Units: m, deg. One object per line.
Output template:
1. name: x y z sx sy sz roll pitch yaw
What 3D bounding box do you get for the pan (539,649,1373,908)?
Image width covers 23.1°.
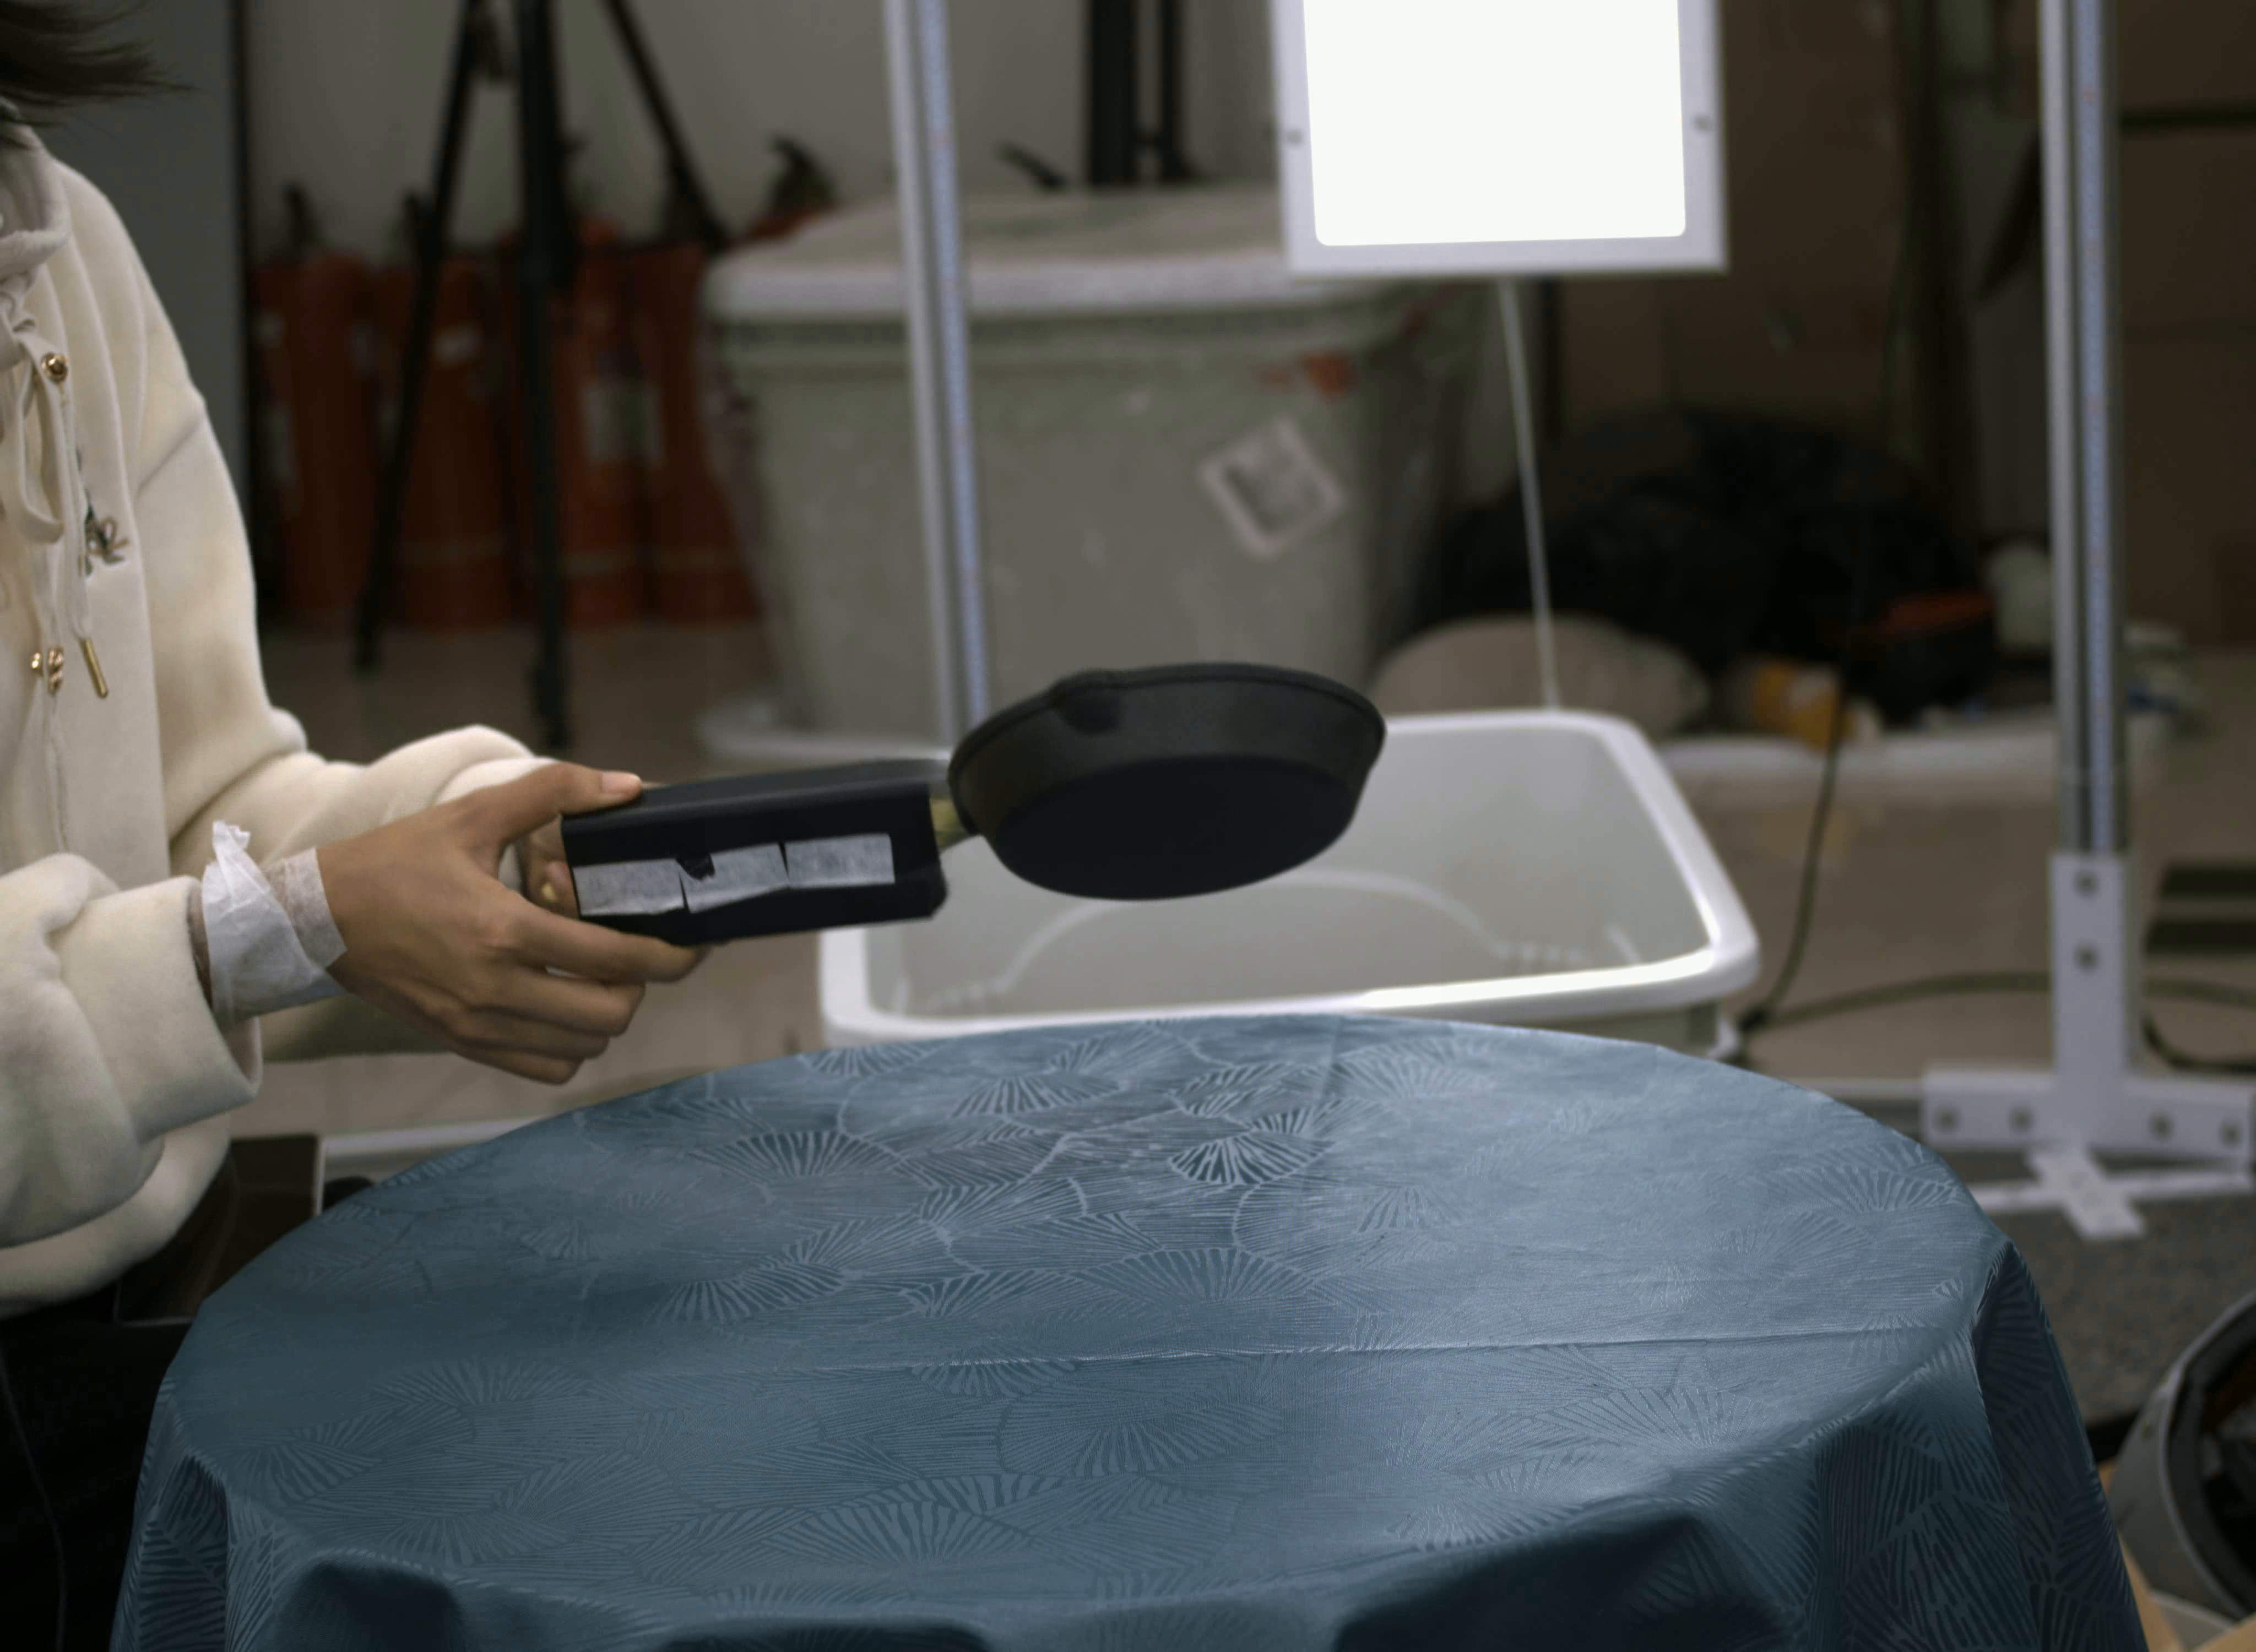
1. pan: -0.066 -0.001 1.983 0.329 0.049 0.166 -14 -25 22

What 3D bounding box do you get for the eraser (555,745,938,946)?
1. eraser: -0.128 0.006 1.864 0.126 0.053 0.030 -7 19 12
